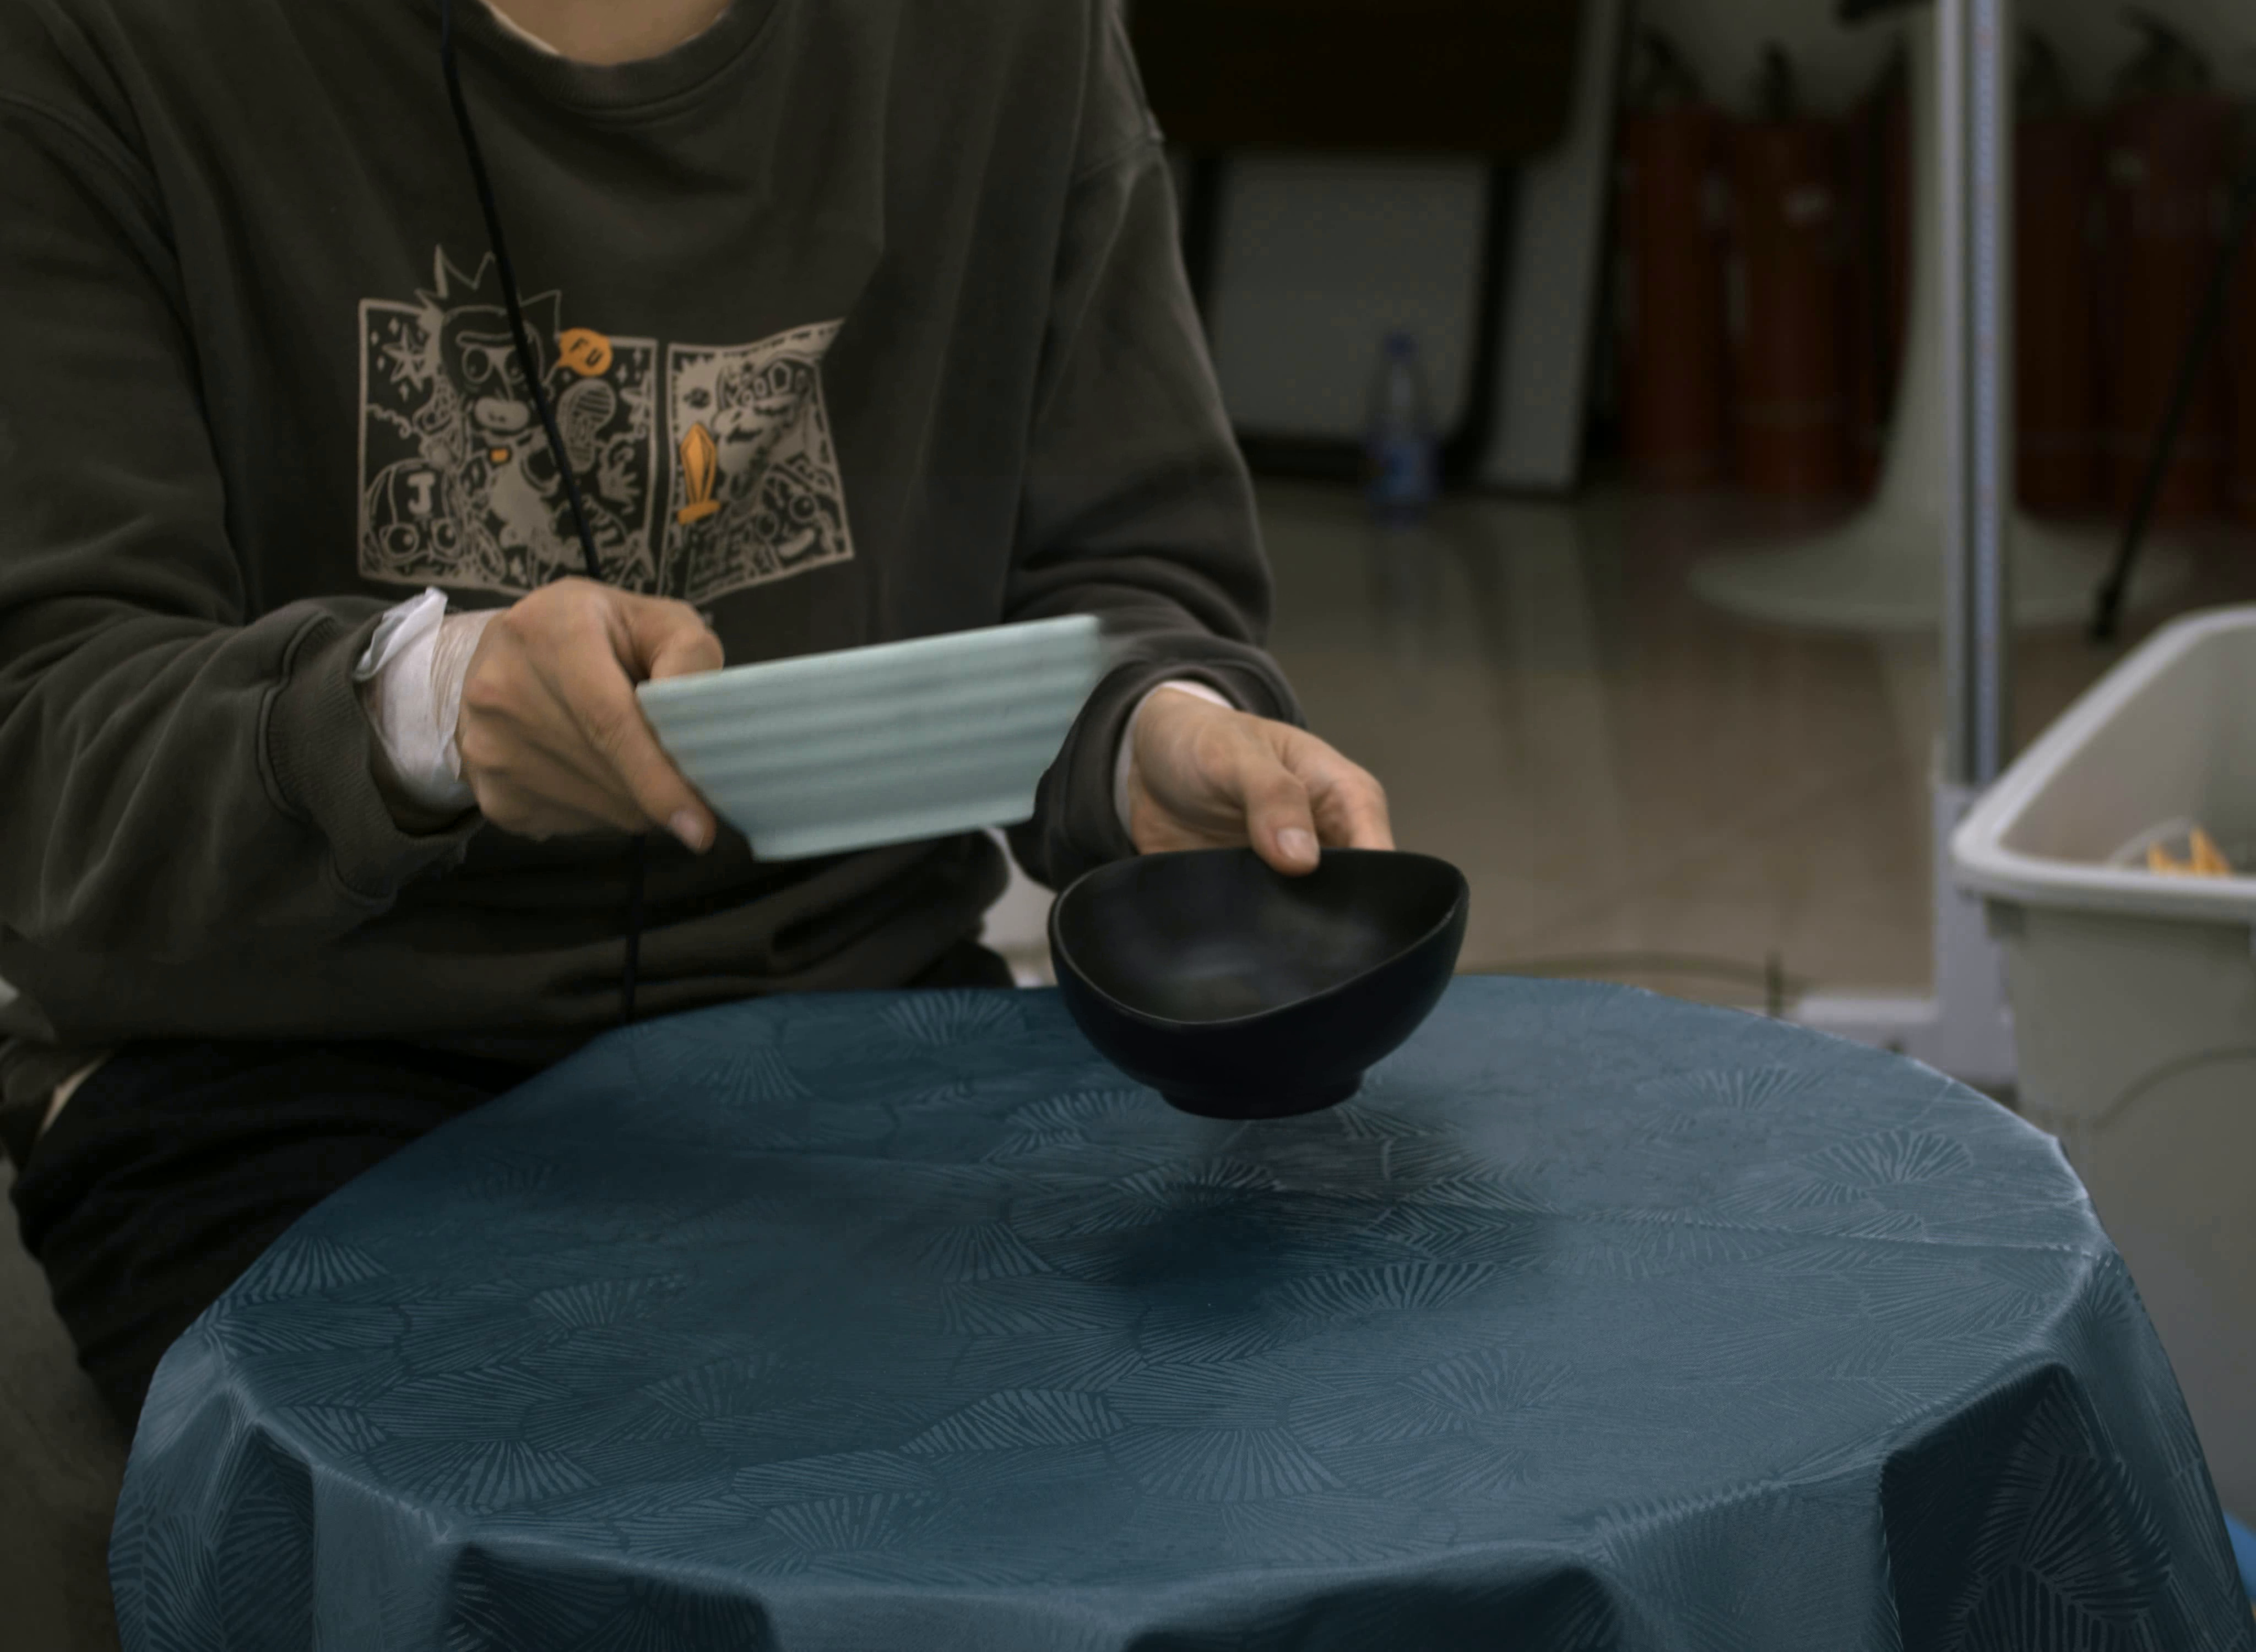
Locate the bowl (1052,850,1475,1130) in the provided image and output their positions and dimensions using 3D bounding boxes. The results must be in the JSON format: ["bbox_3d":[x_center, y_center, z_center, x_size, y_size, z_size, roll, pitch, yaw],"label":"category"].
[{"bbox_3d":[0.045,0.057,1.746,0.137,0.067,0.169,0,16,15],"label":"bowl"}]

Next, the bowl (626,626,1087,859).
[{"bbox_3d":[-0.078,-0.024,1.612,0.149,0.059,0.151,-6,2,-1],"label":"bowl"}]
